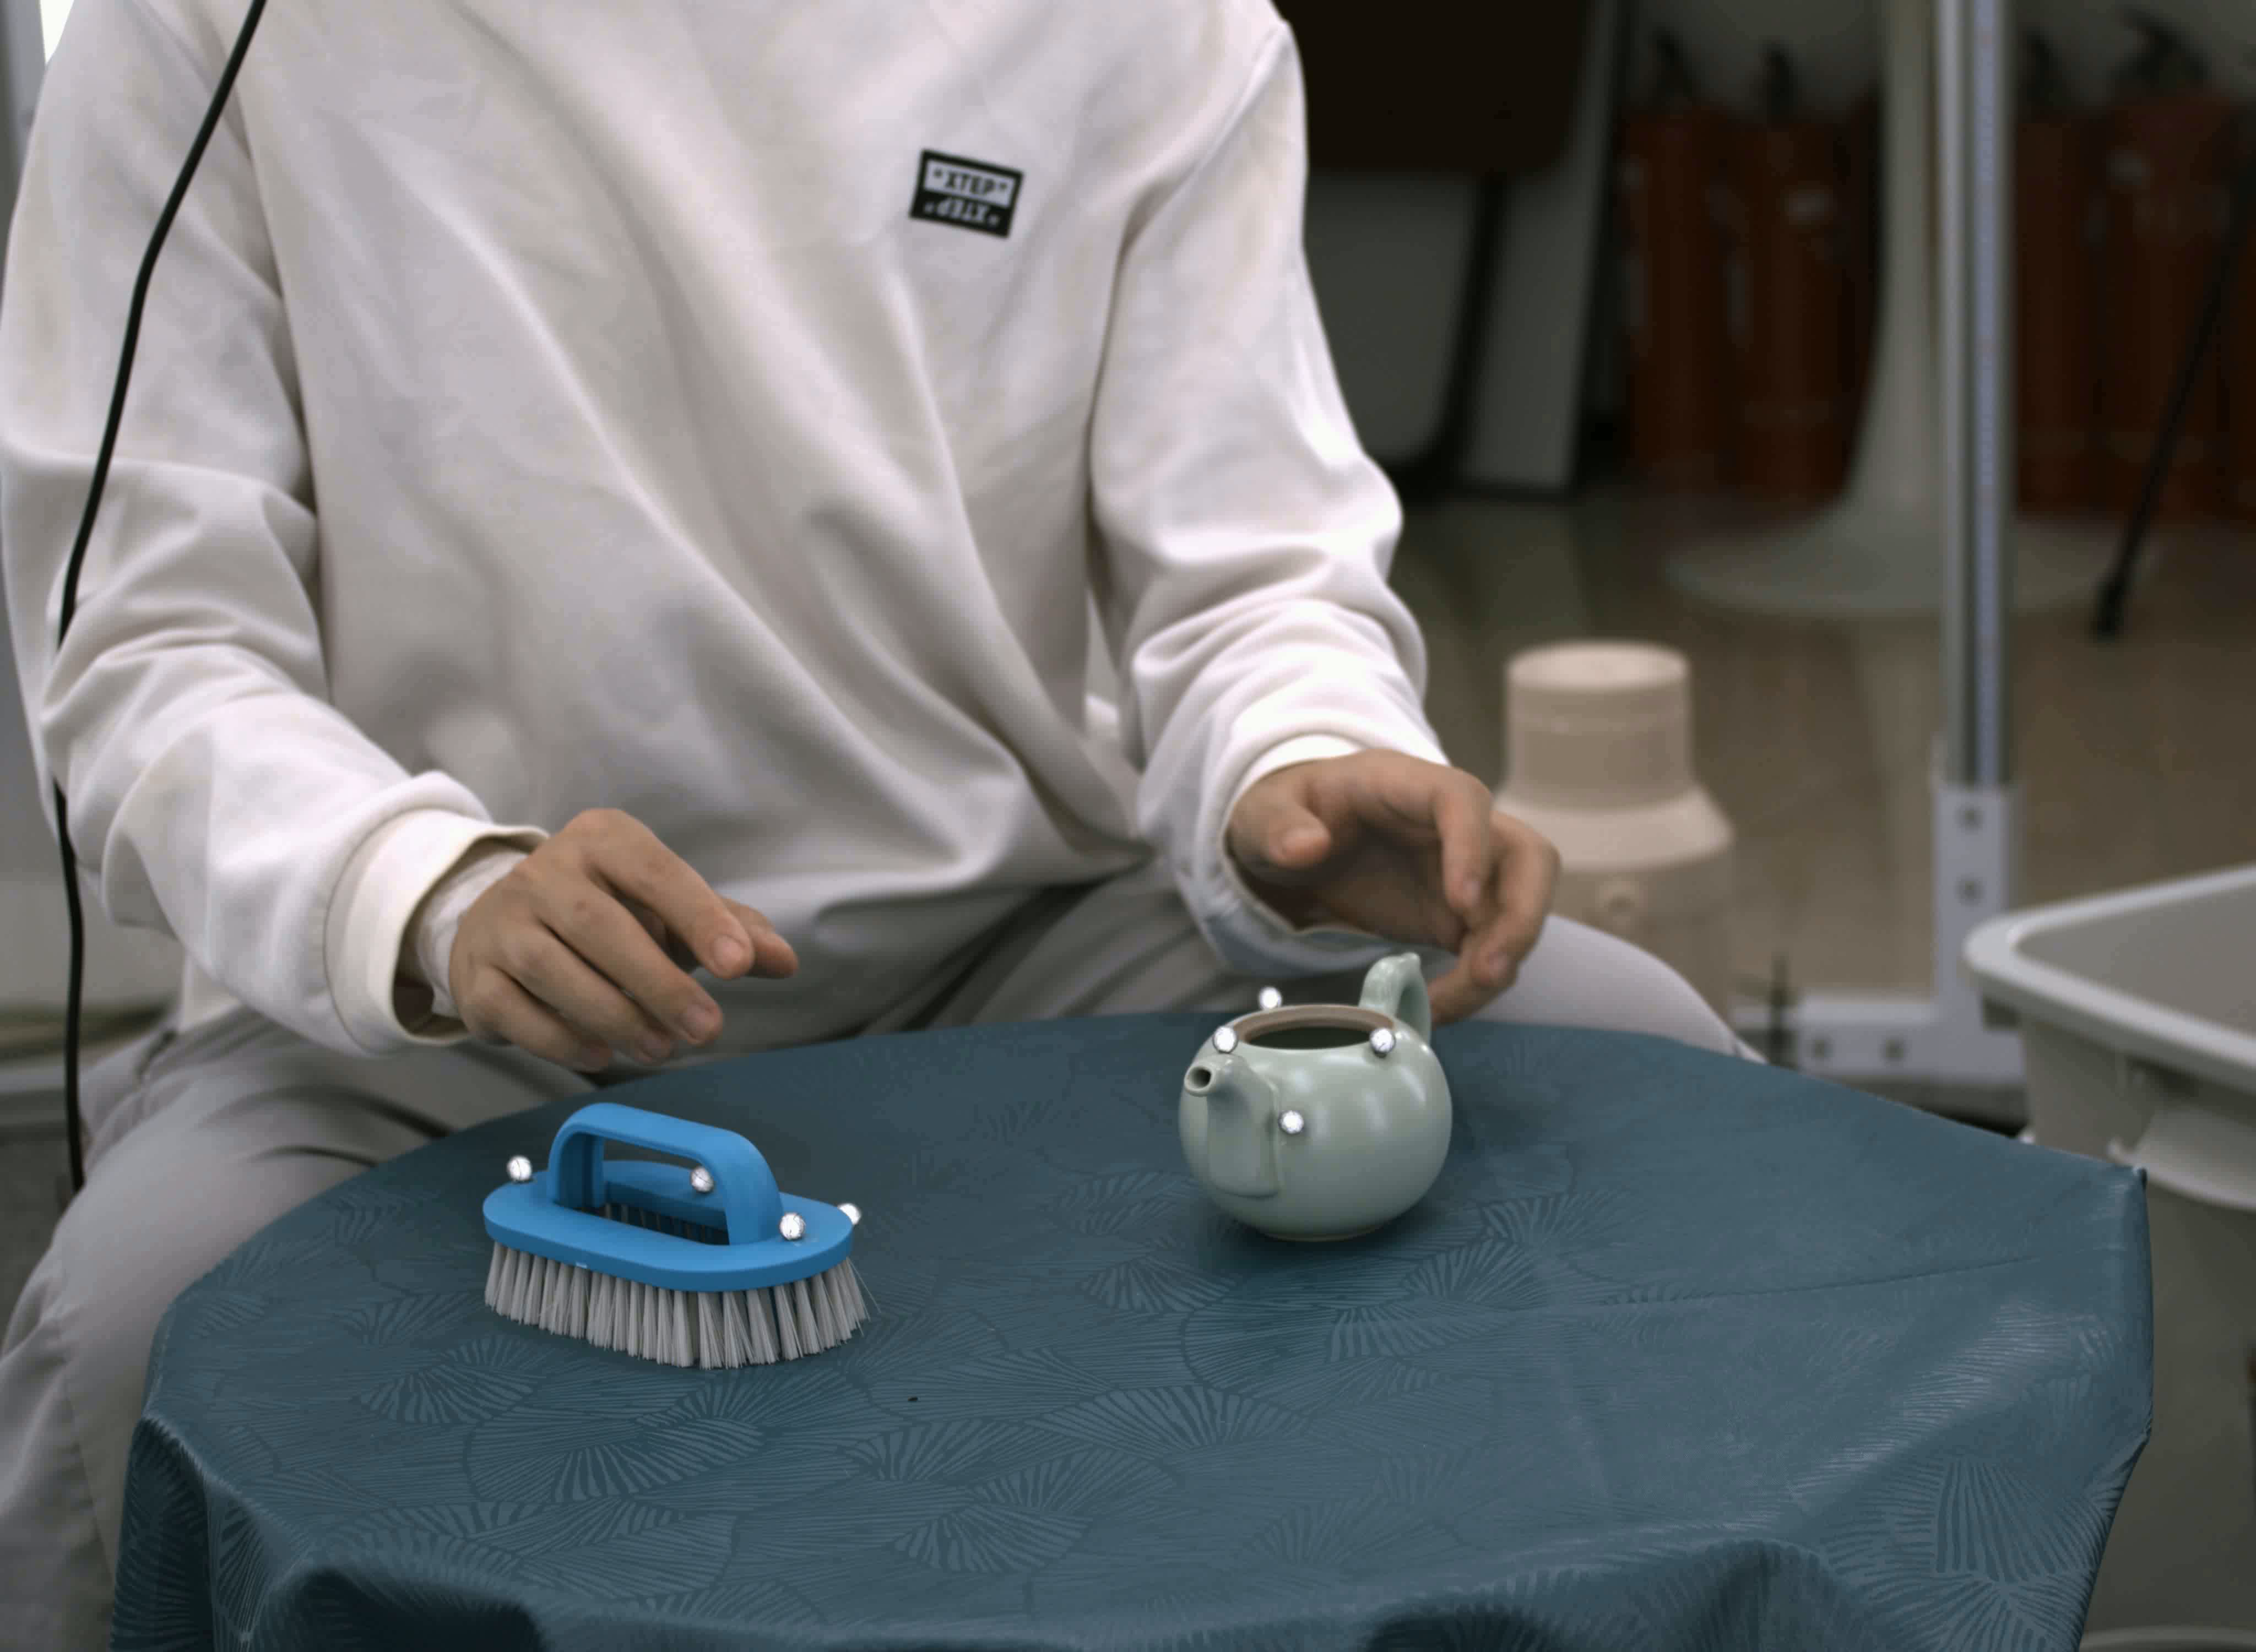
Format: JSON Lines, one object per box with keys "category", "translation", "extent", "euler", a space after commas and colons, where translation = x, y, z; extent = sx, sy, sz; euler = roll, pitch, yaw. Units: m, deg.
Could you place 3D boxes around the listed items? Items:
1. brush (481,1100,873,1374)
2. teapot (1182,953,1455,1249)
{"category": "brush", "translation": [-0.144, 0.120, 1.679], "extent": [0.083, 0.064, 0.143], "euler": [-21, 21, -41]}
{"category": "teapot", "translation": [0.061, 0.093, 1.722], "extent": [0.089, 0.075, 0.141], "euler": [4, 18, 35]}
